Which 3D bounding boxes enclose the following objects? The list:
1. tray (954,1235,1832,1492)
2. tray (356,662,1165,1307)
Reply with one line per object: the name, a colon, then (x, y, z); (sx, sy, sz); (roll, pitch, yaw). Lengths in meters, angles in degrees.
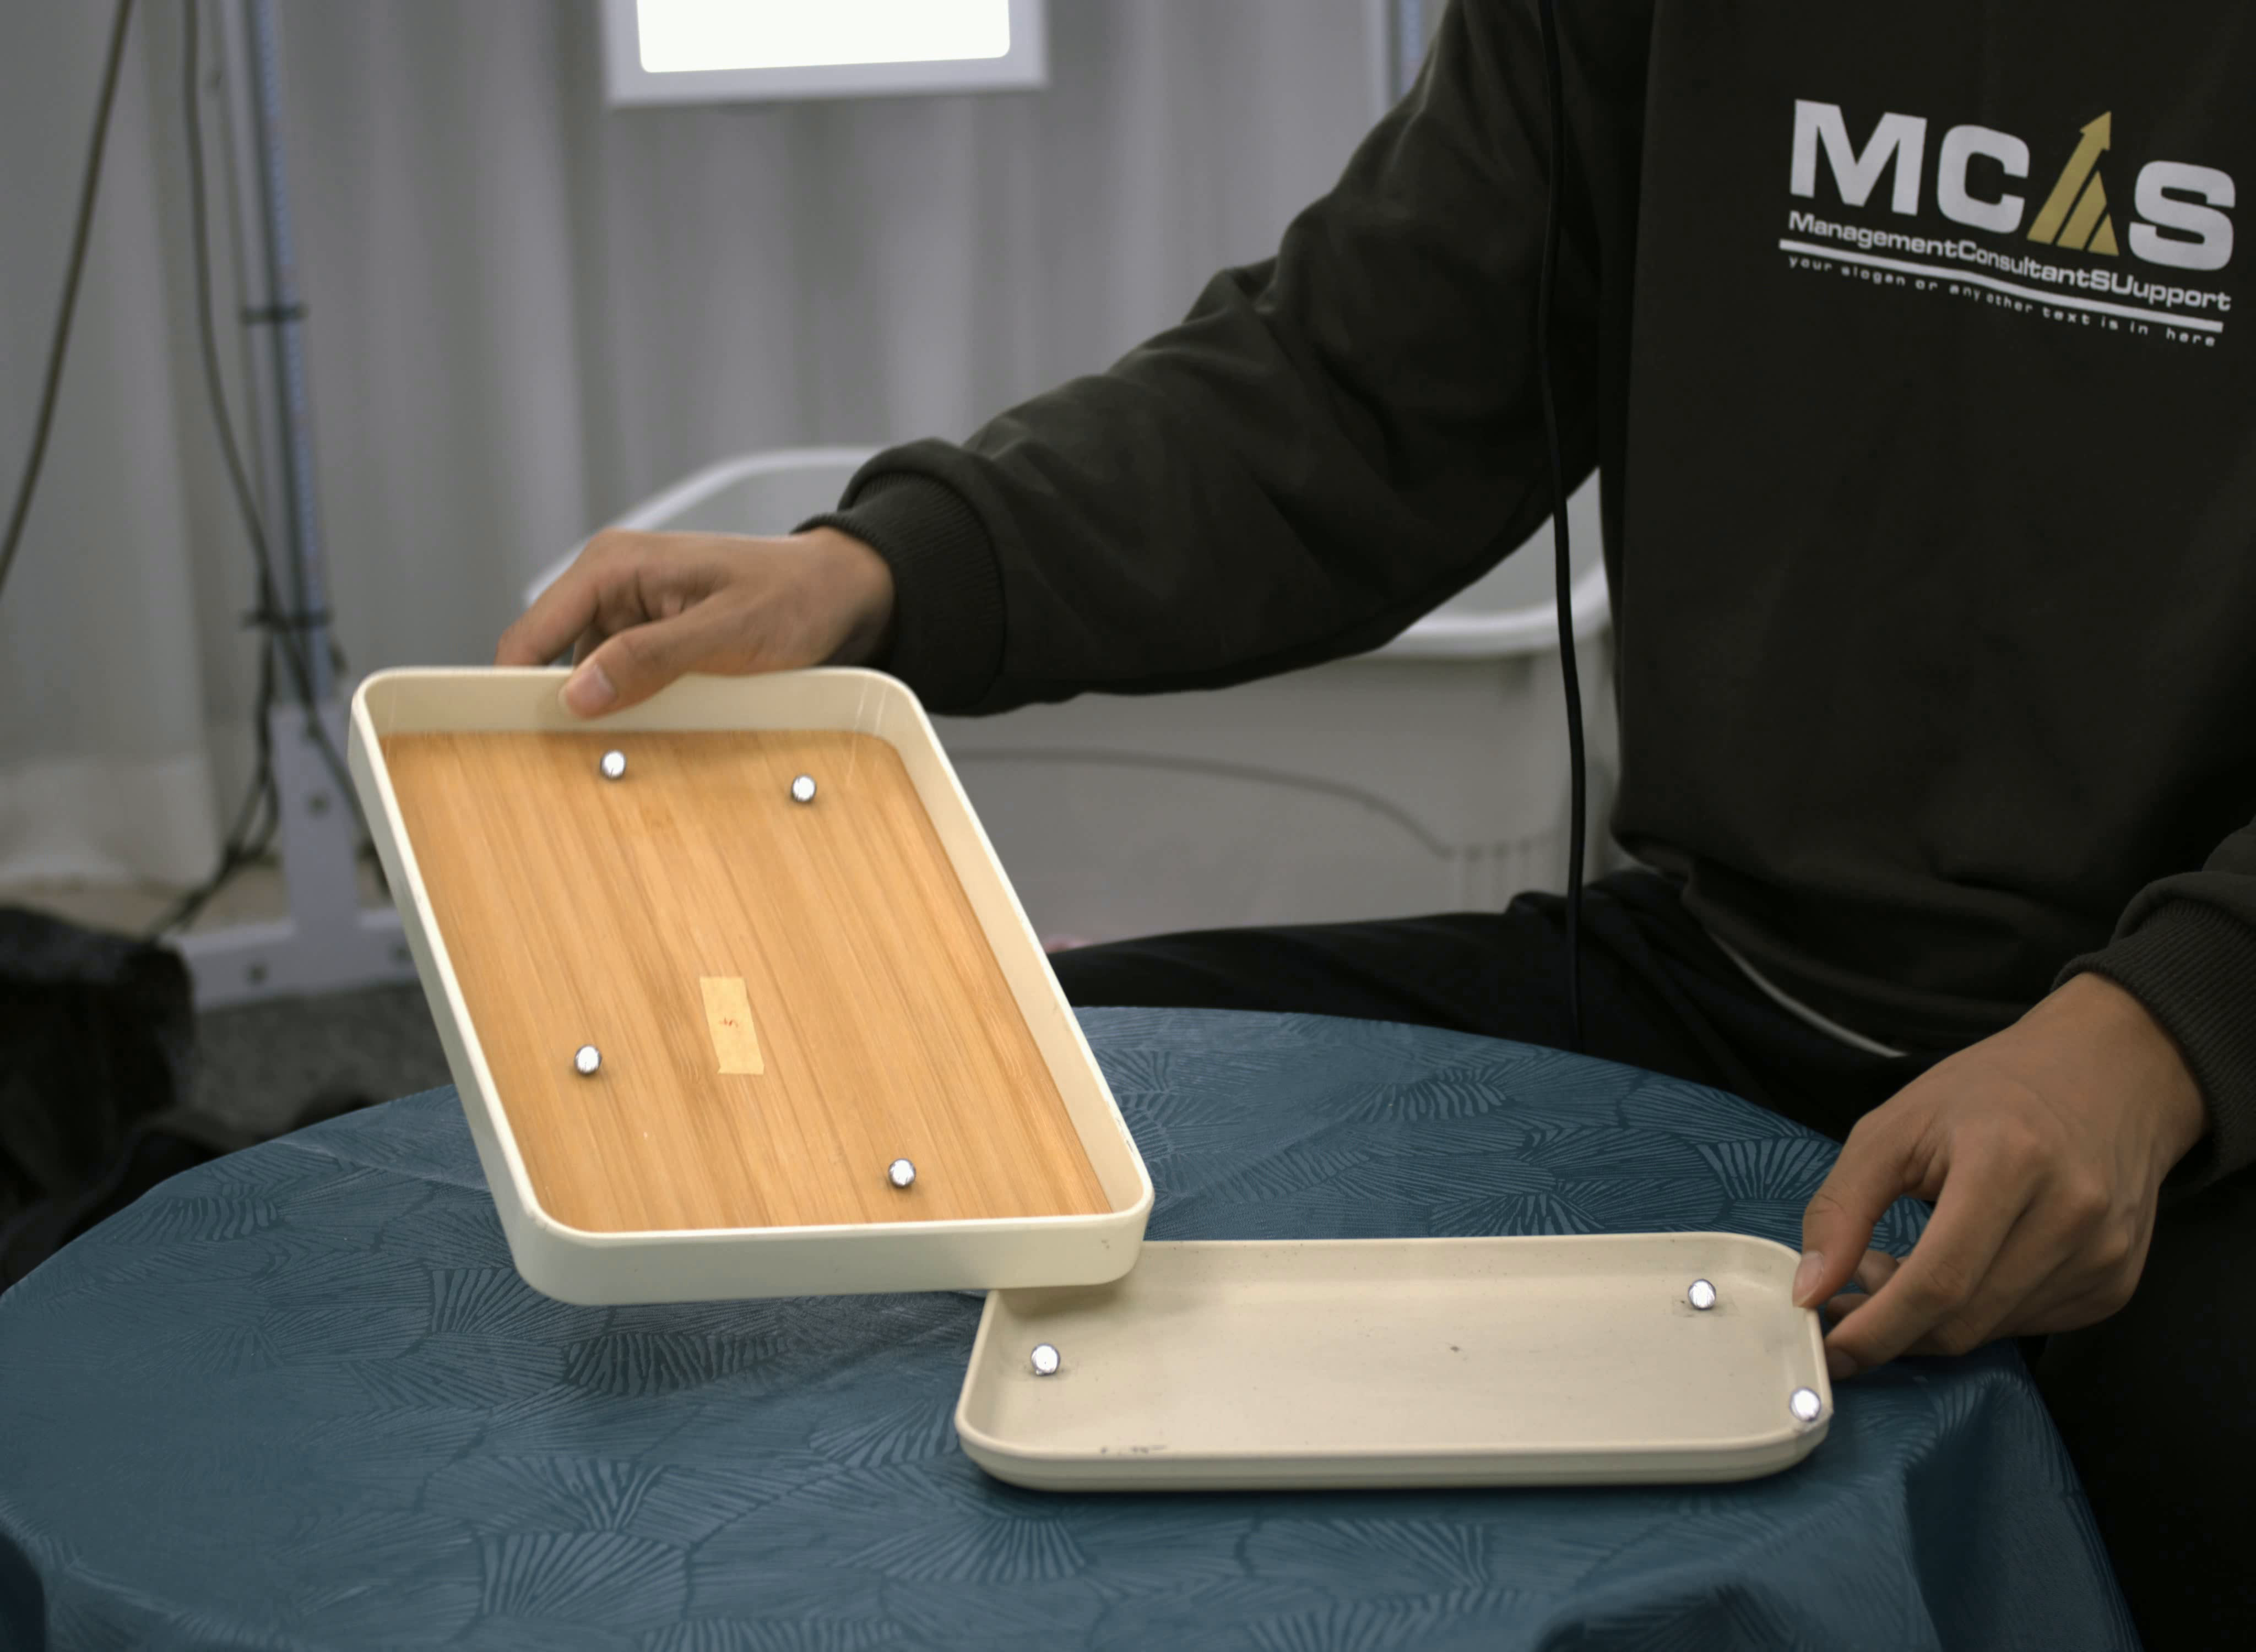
tray: (0.074, 0.152, 1.535); (0.239, 0.017, 0.172); (-1, 14, 4)
tray: (-0.119, 0.042, 1.680); (0.190, 0.027, 0.305); (-1, 34, -20)
